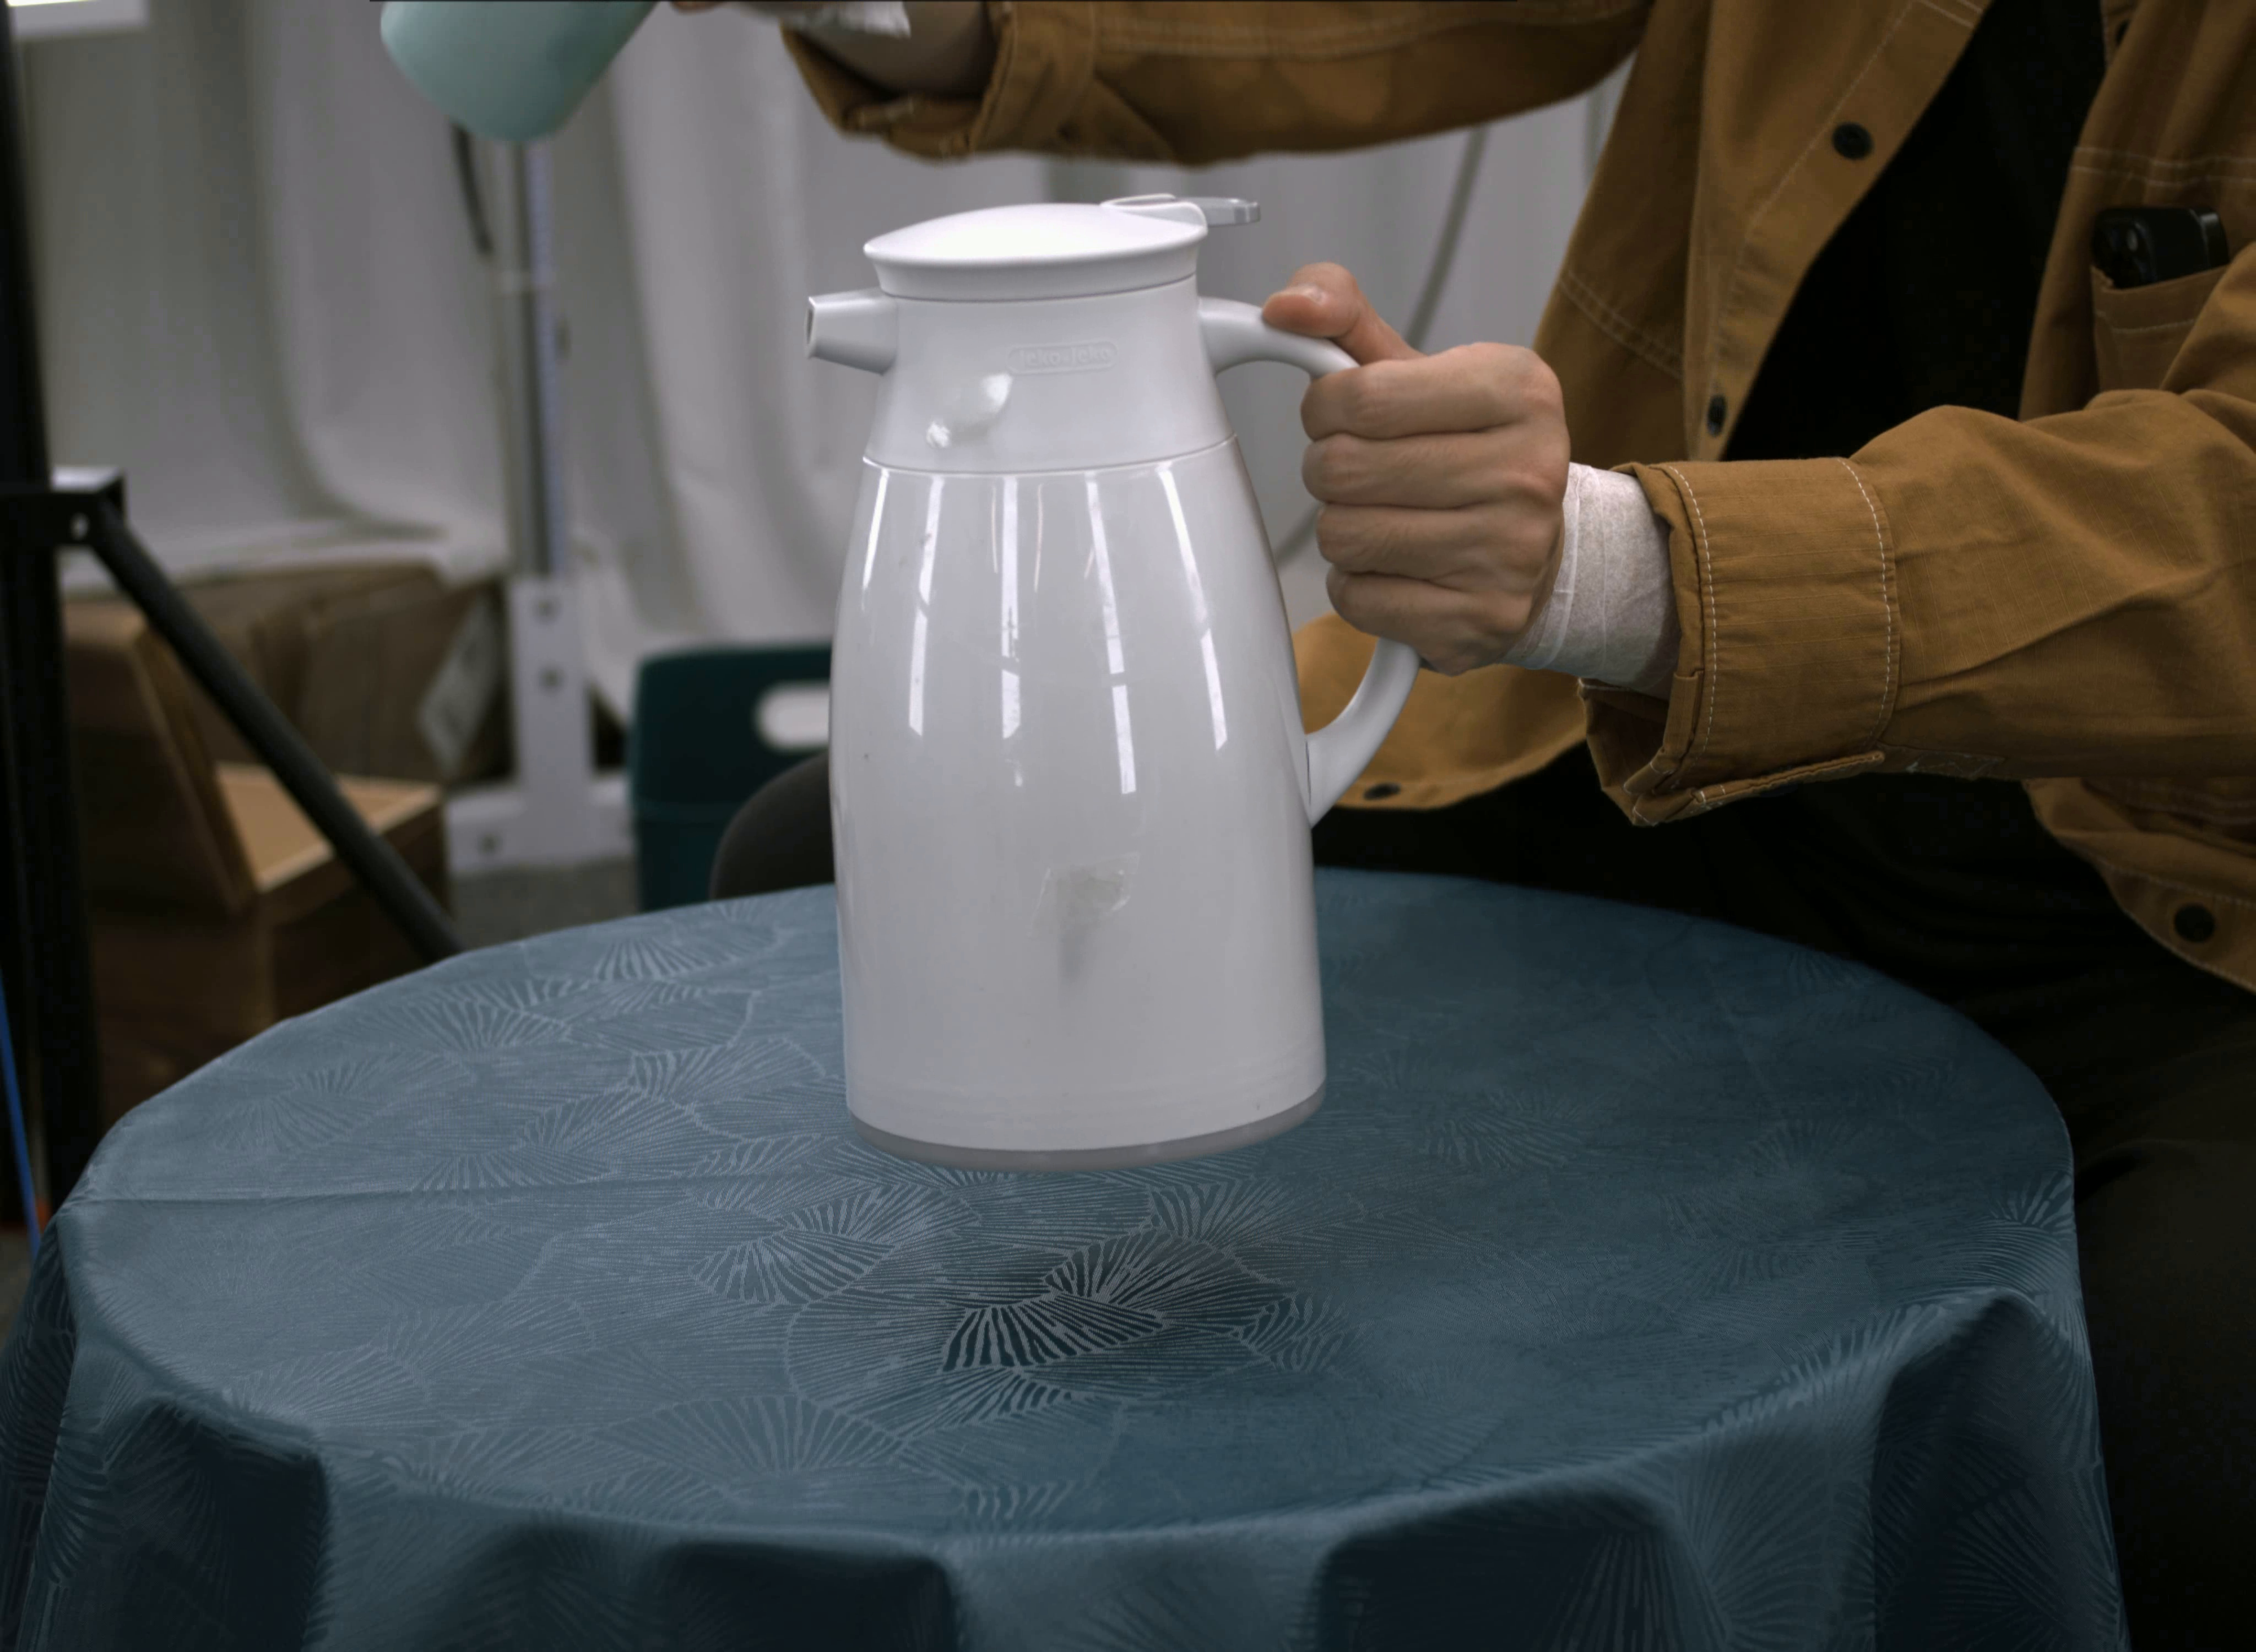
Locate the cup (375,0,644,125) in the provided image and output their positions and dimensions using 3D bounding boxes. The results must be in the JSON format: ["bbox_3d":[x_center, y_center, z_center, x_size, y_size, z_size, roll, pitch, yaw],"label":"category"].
[{"bbox_3d":[-0.150,-0.263,1.507,0.065,0.067,0.134,-22,-17,-50],"label":"cup"}]

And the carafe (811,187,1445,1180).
[{"bbox_3d":[0.002,-0.044,1.428,0.166,0.249,0.133,-4,13,-6],"label":"carafe"}]
